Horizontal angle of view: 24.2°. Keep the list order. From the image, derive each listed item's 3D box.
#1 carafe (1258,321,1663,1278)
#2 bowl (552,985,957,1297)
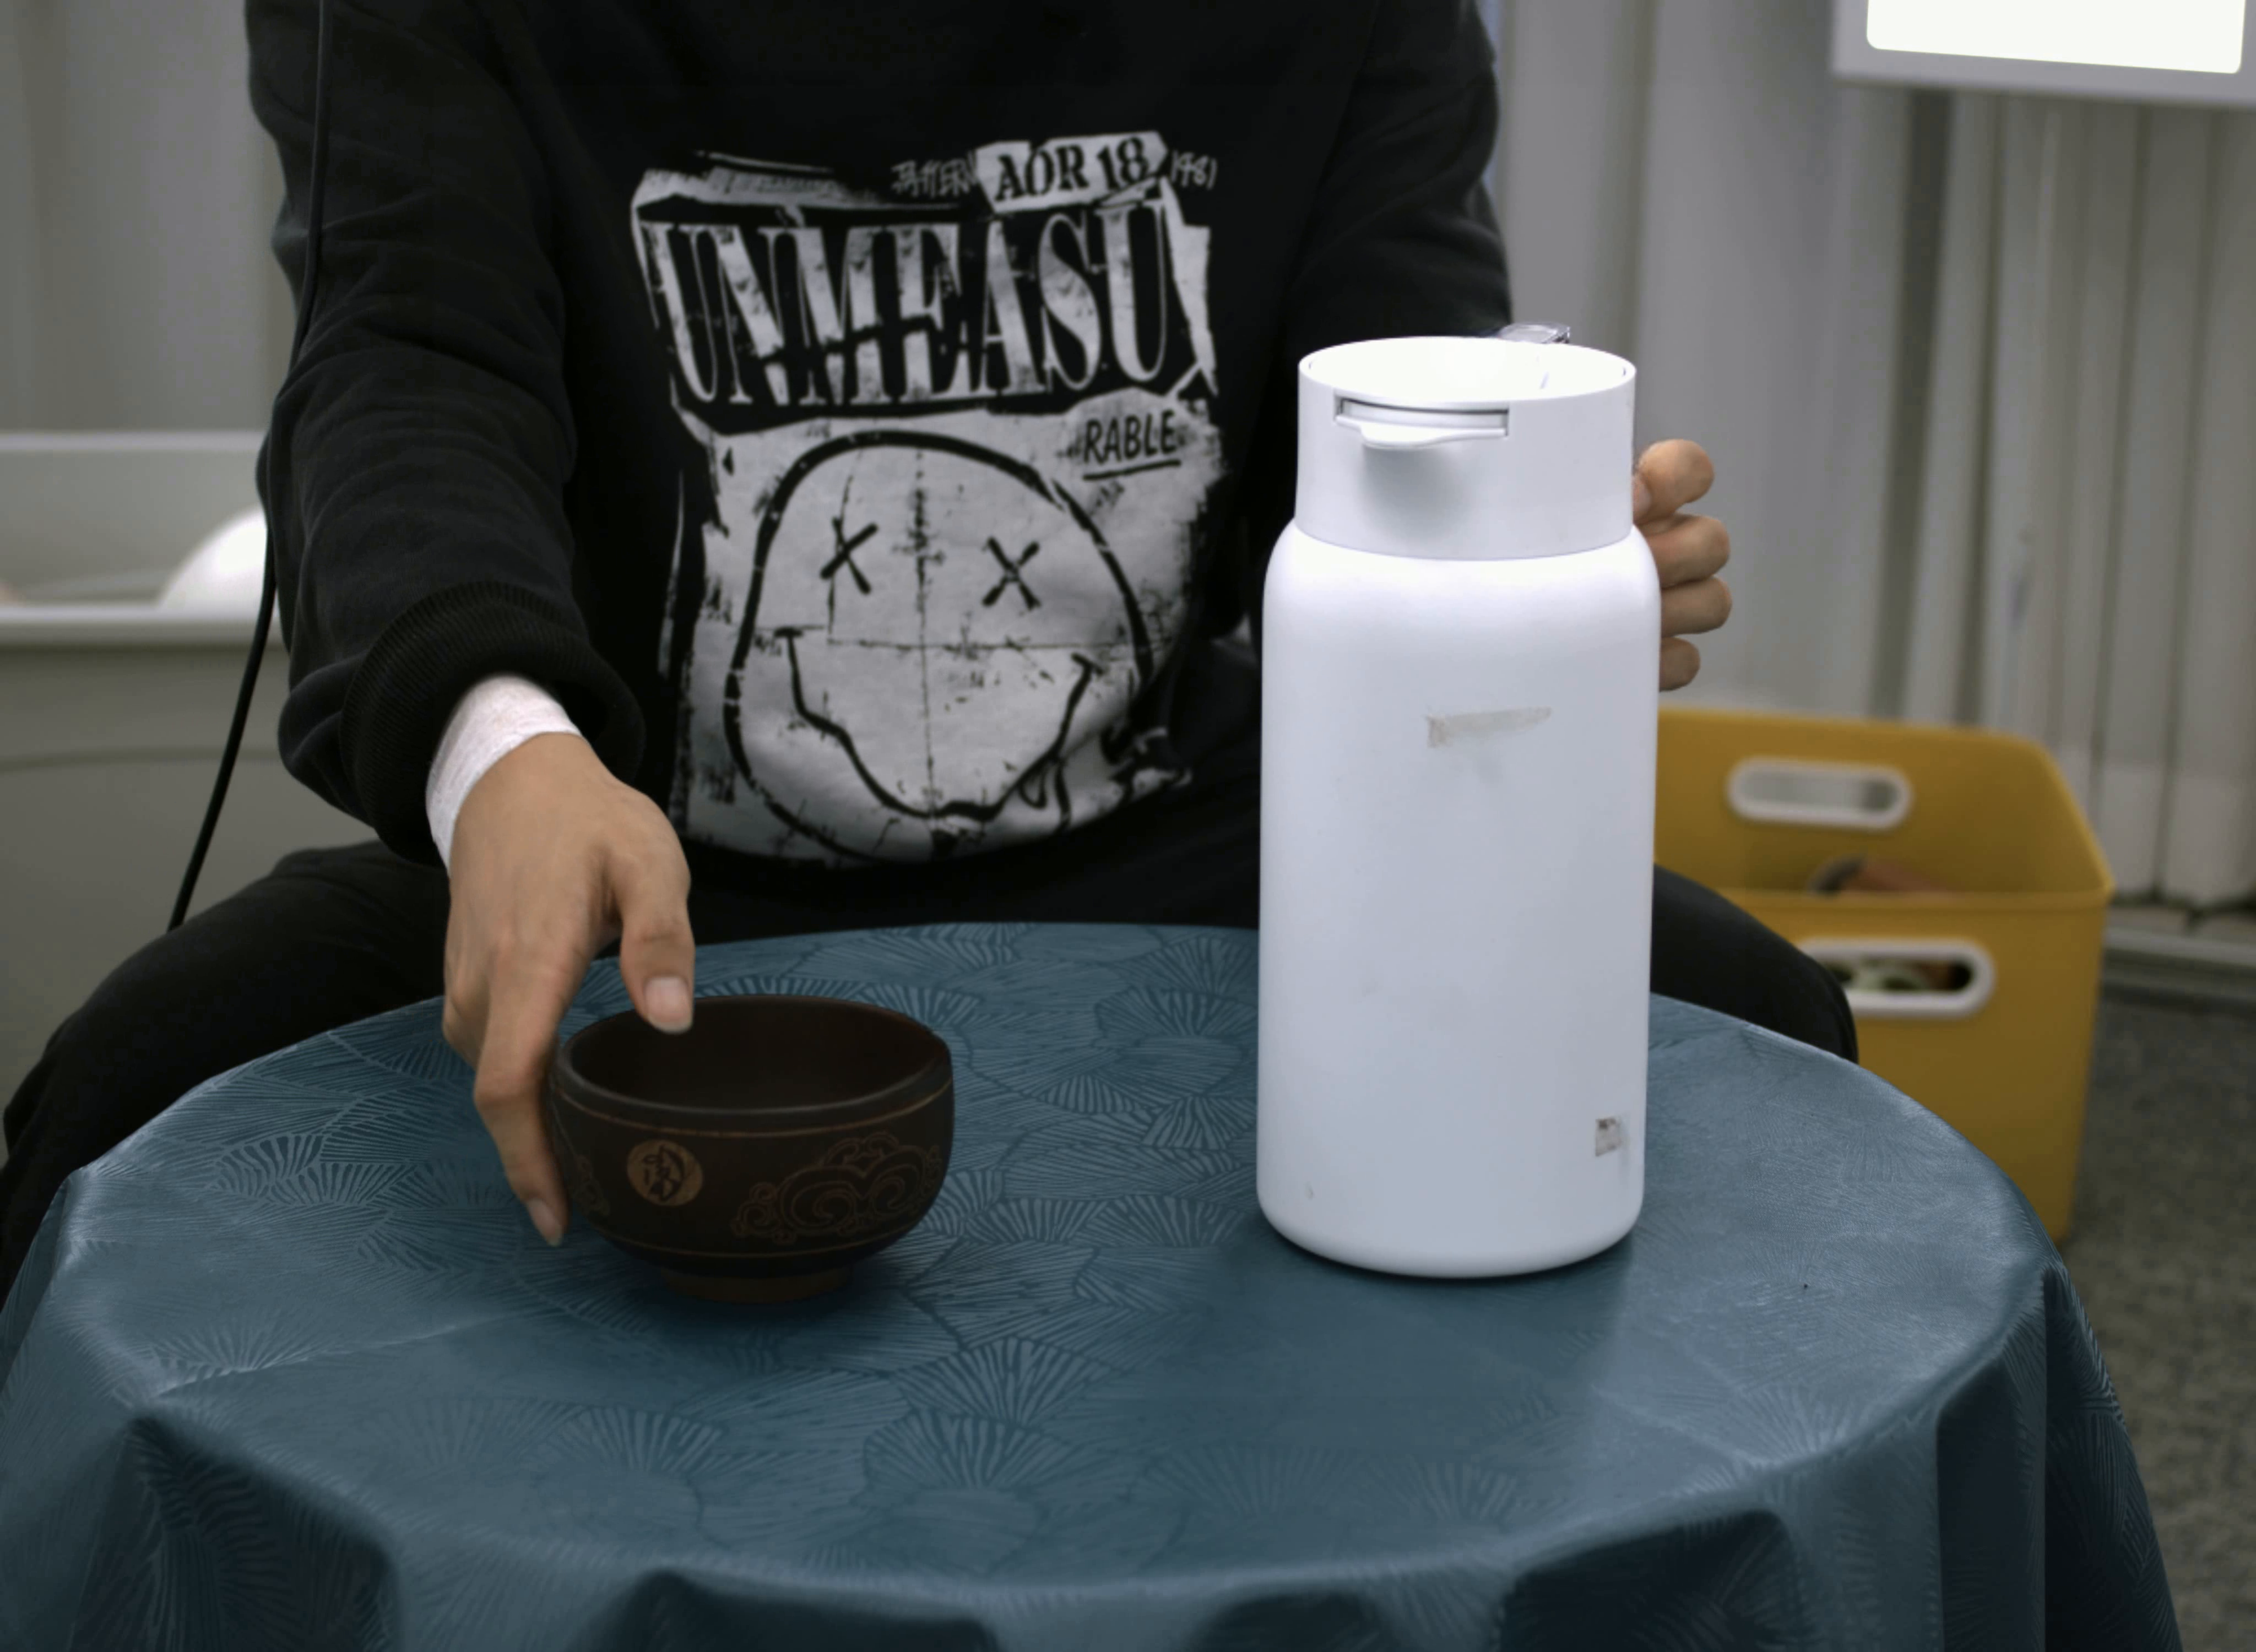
[{"bbox_3d":[0.103,-0.012,1.575,0.122,0.271,0.173,4,17,20],"label":"carafe"},{"bbox_3d":[-0.109,0.096,1.540,0.117,0.070,0.117,0,15,0],"label":"bowl"}]
